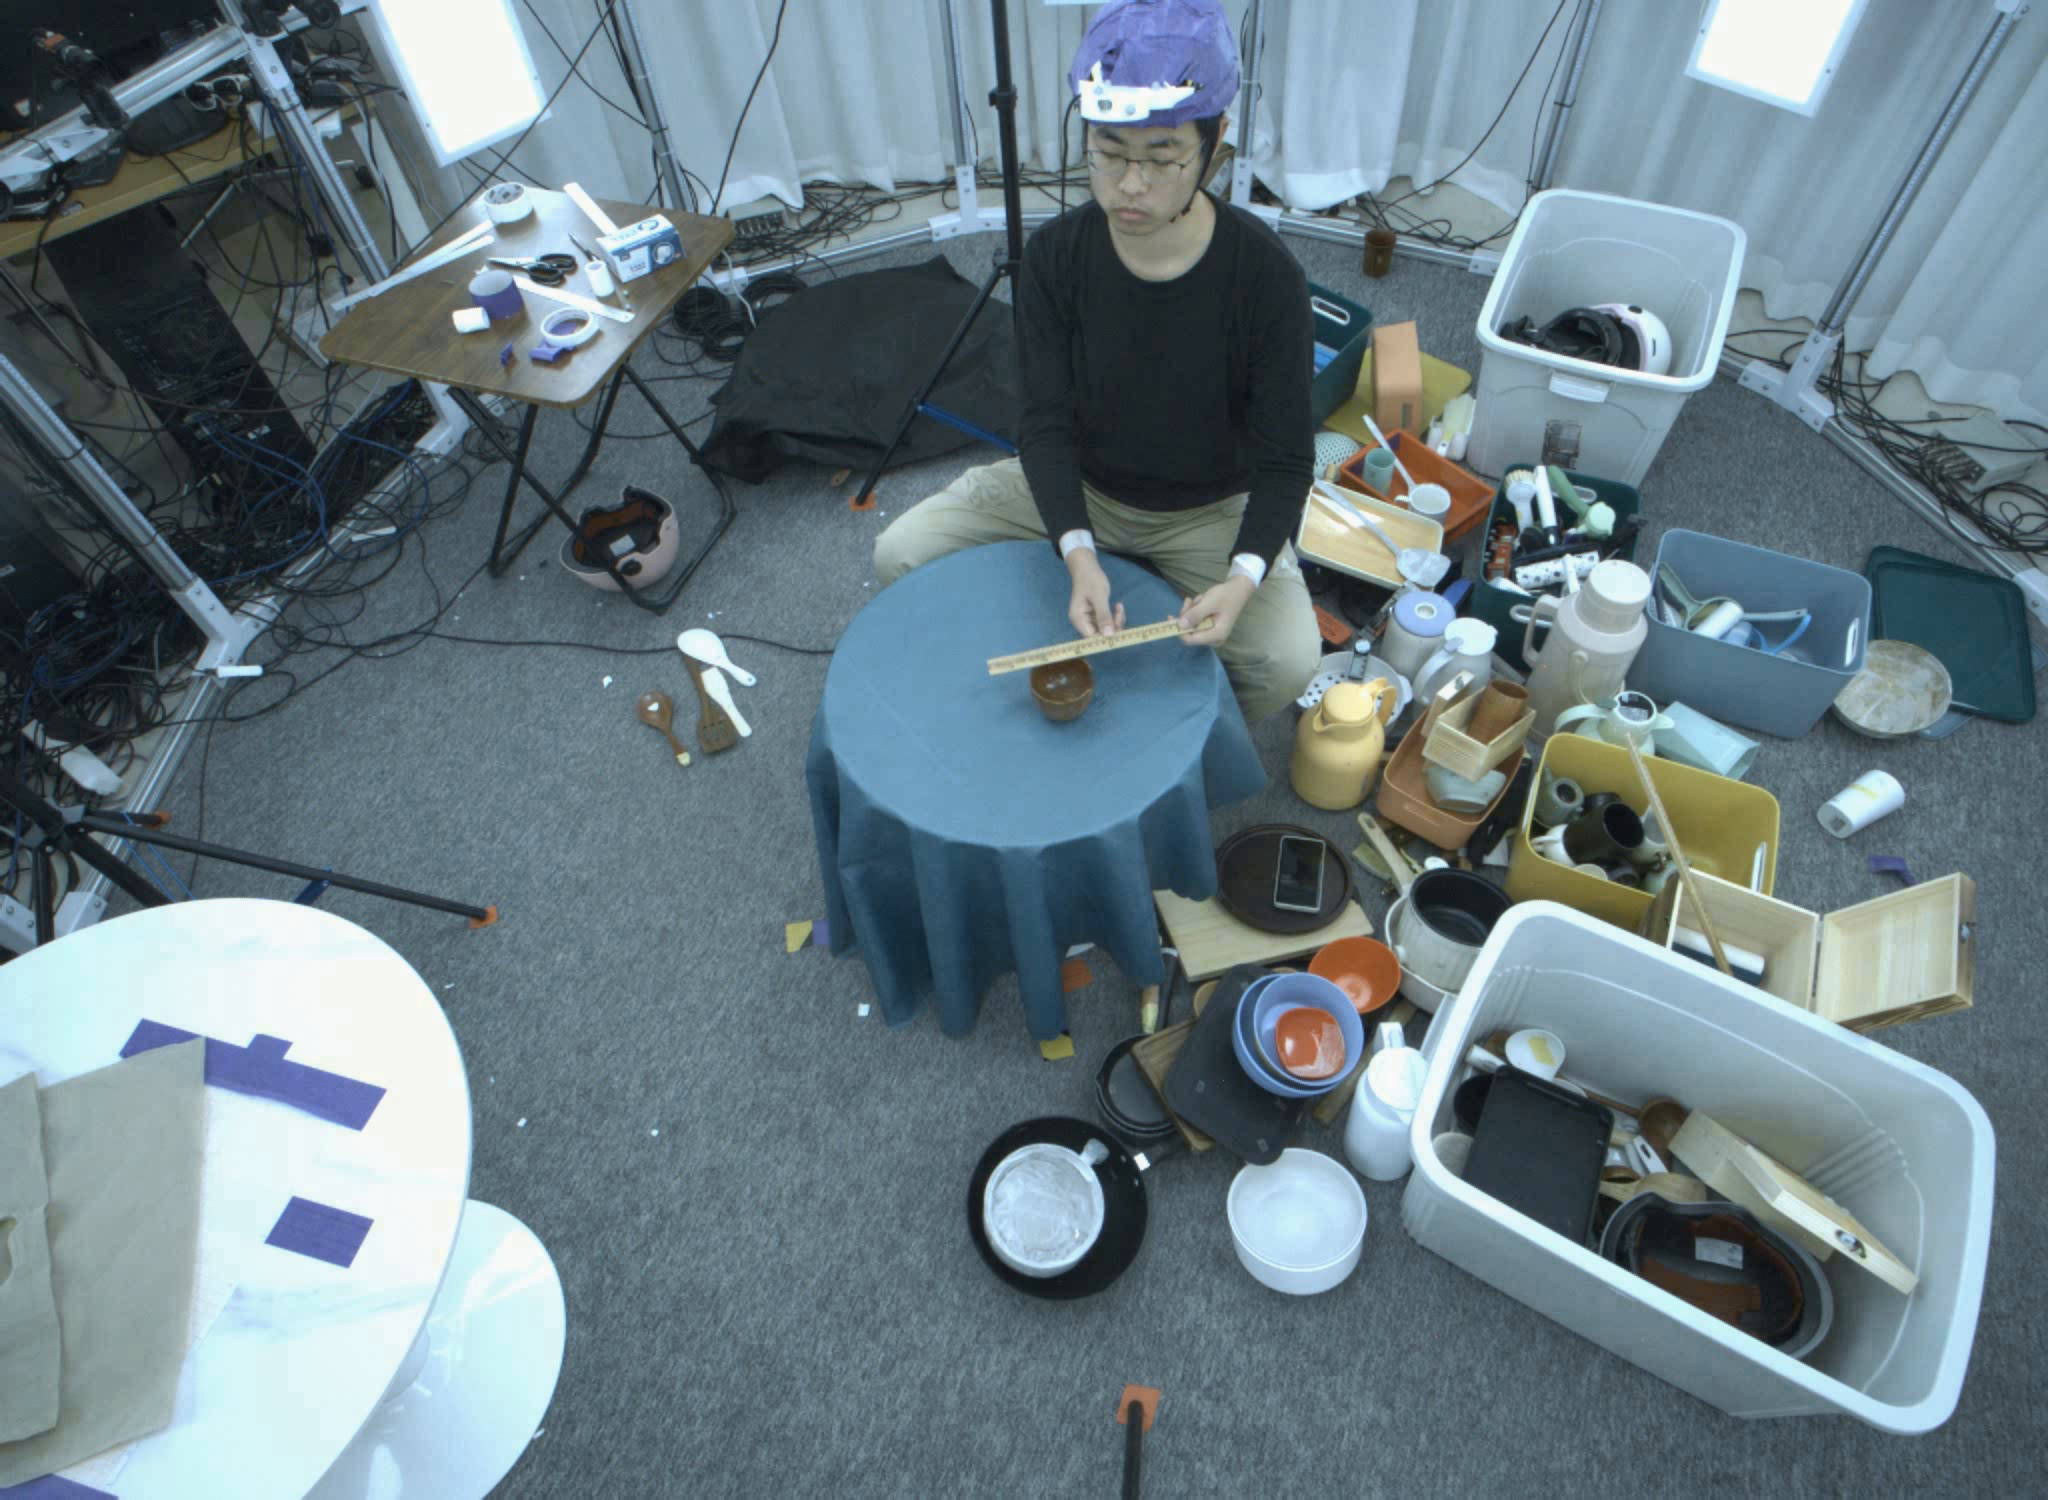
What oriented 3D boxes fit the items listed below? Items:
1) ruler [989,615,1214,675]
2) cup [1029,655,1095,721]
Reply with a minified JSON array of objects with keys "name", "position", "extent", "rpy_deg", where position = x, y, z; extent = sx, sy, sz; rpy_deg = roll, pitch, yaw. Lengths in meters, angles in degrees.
[{"name":"ruler","position":[0.113,-0.156,1.797],"extent":[0.332,0.022,0.027],"rpy_deg":[-11,76,-1]},{"name":"cup","position":[0.062,-0.095,1.813],"extent":[0.095,0.068,0.119],"rpy_deg":[18,56,17]}]
